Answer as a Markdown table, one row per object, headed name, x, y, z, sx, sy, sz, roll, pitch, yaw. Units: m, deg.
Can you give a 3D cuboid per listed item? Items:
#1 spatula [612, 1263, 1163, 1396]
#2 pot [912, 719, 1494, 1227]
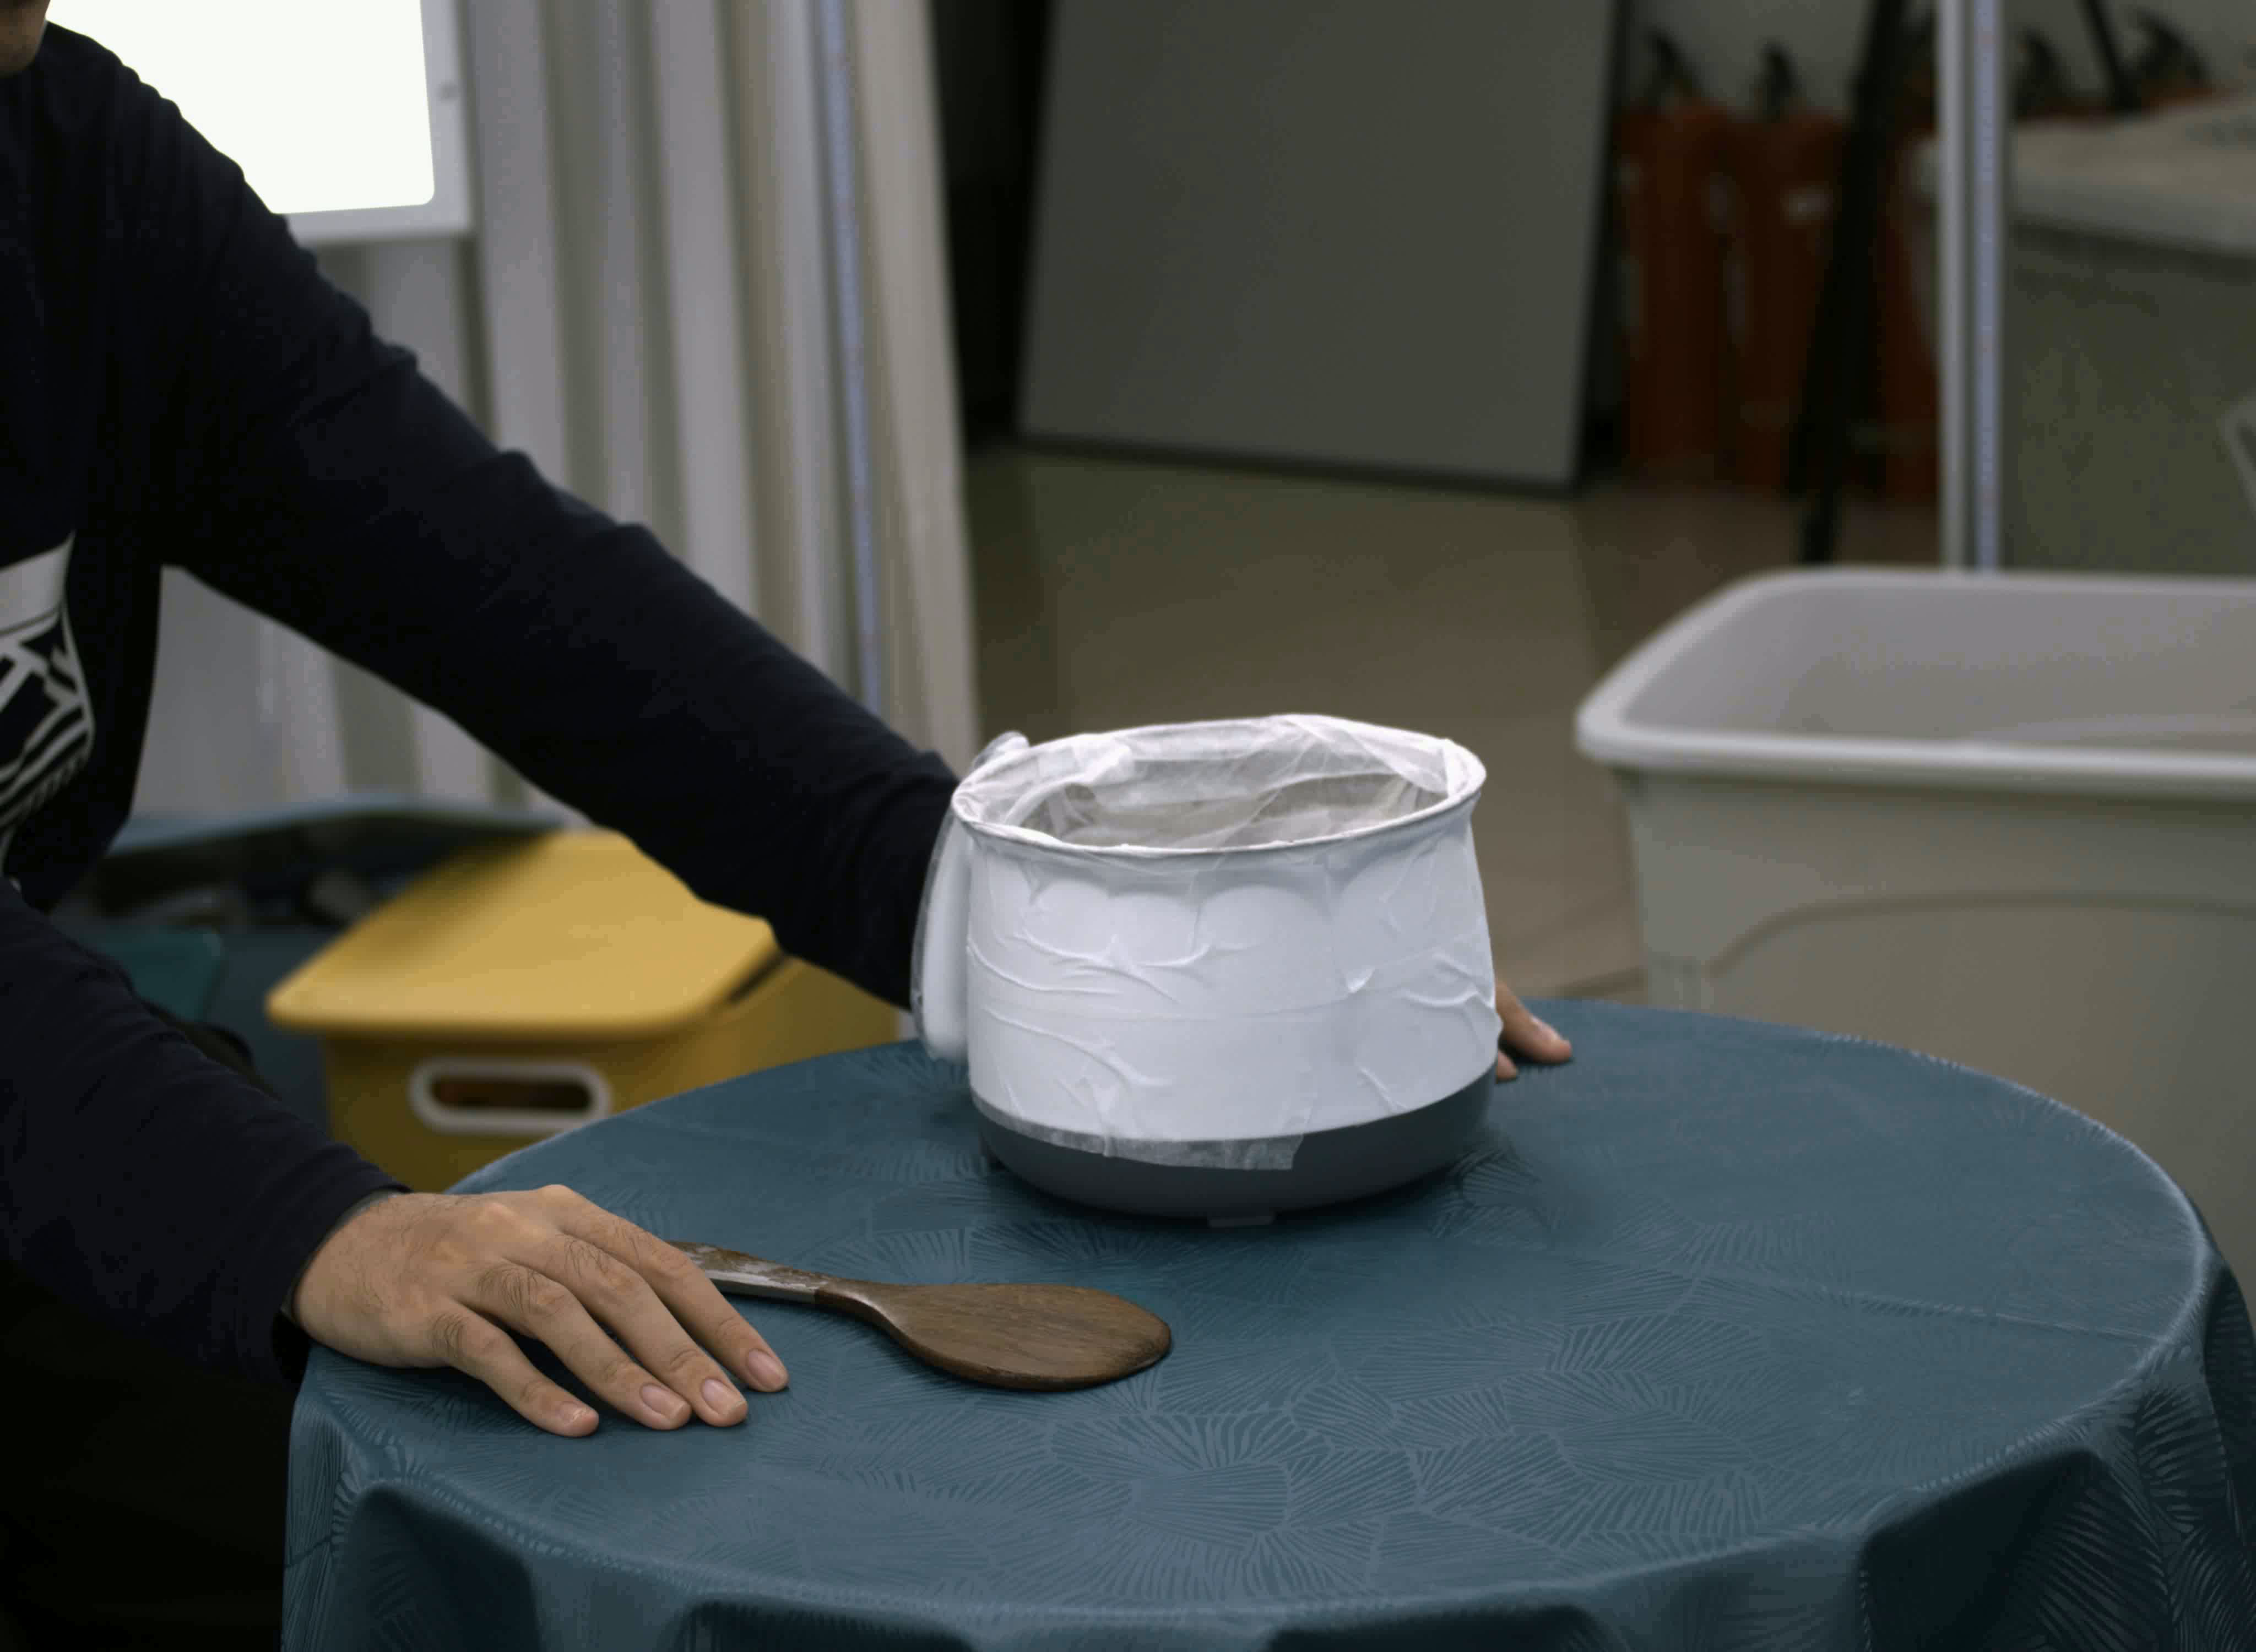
| name | x | y | z | sx | sy | sz | roll | pitch | yaw |
| --- | --- | --- | --- | --- | --- | --- | --- | --- | --- |
| spatula | -0.078 | 0.151 | 1.669 | 0.217 | 0.009 | 0.070 | 6 | 16 | 40 |
| pot | 0.014 | 0.042 | 1.799 | 0.236 | 0.138 | 0.175 | 11 | 17 | 43 |
